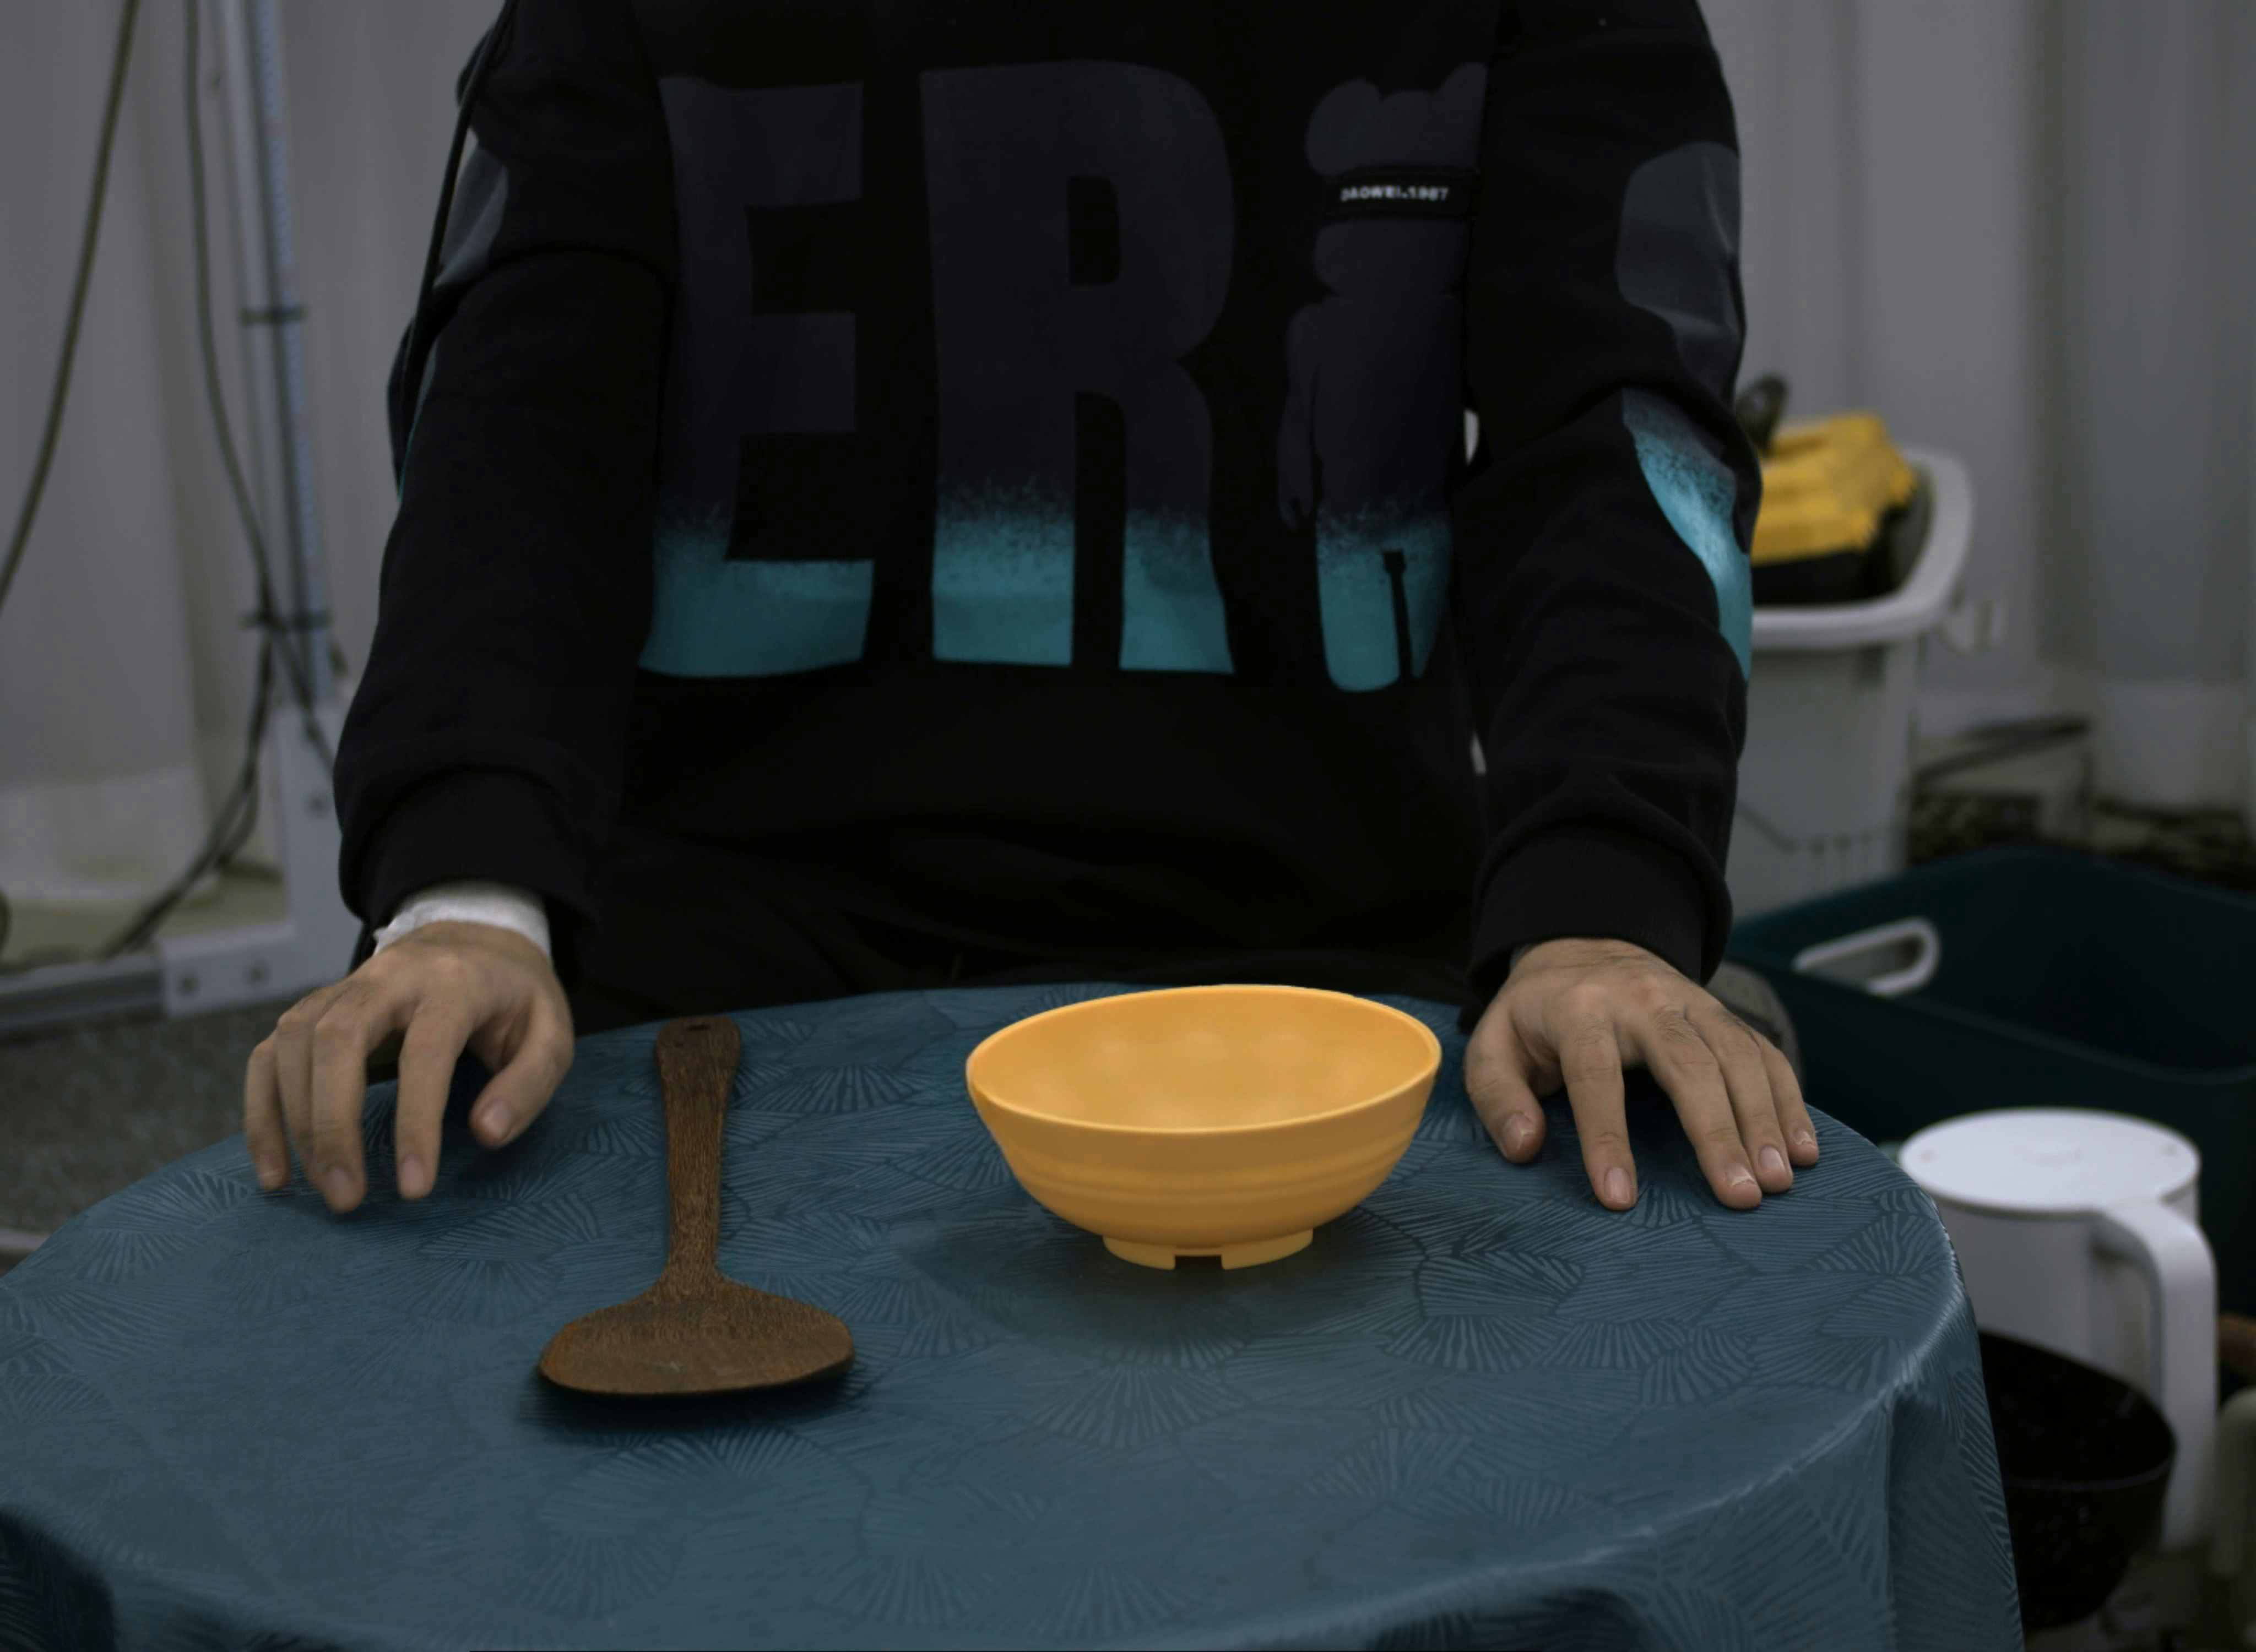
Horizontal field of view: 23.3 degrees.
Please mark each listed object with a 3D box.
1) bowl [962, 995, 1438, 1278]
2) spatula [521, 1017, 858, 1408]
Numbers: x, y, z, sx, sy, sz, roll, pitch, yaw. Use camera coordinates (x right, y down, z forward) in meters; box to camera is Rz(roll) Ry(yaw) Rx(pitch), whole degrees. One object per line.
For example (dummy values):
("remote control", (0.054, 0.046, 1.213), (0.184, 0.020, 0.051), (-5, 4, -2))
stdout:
("bowl", (0.022, 0.099, 1.663), (0.145, 0.060, 0.146), (0, 14, 0))
("spatula", (-0.137, 0.115, 1.714), (0.096, 0.016, 0.389), (-3, 15, -4))
